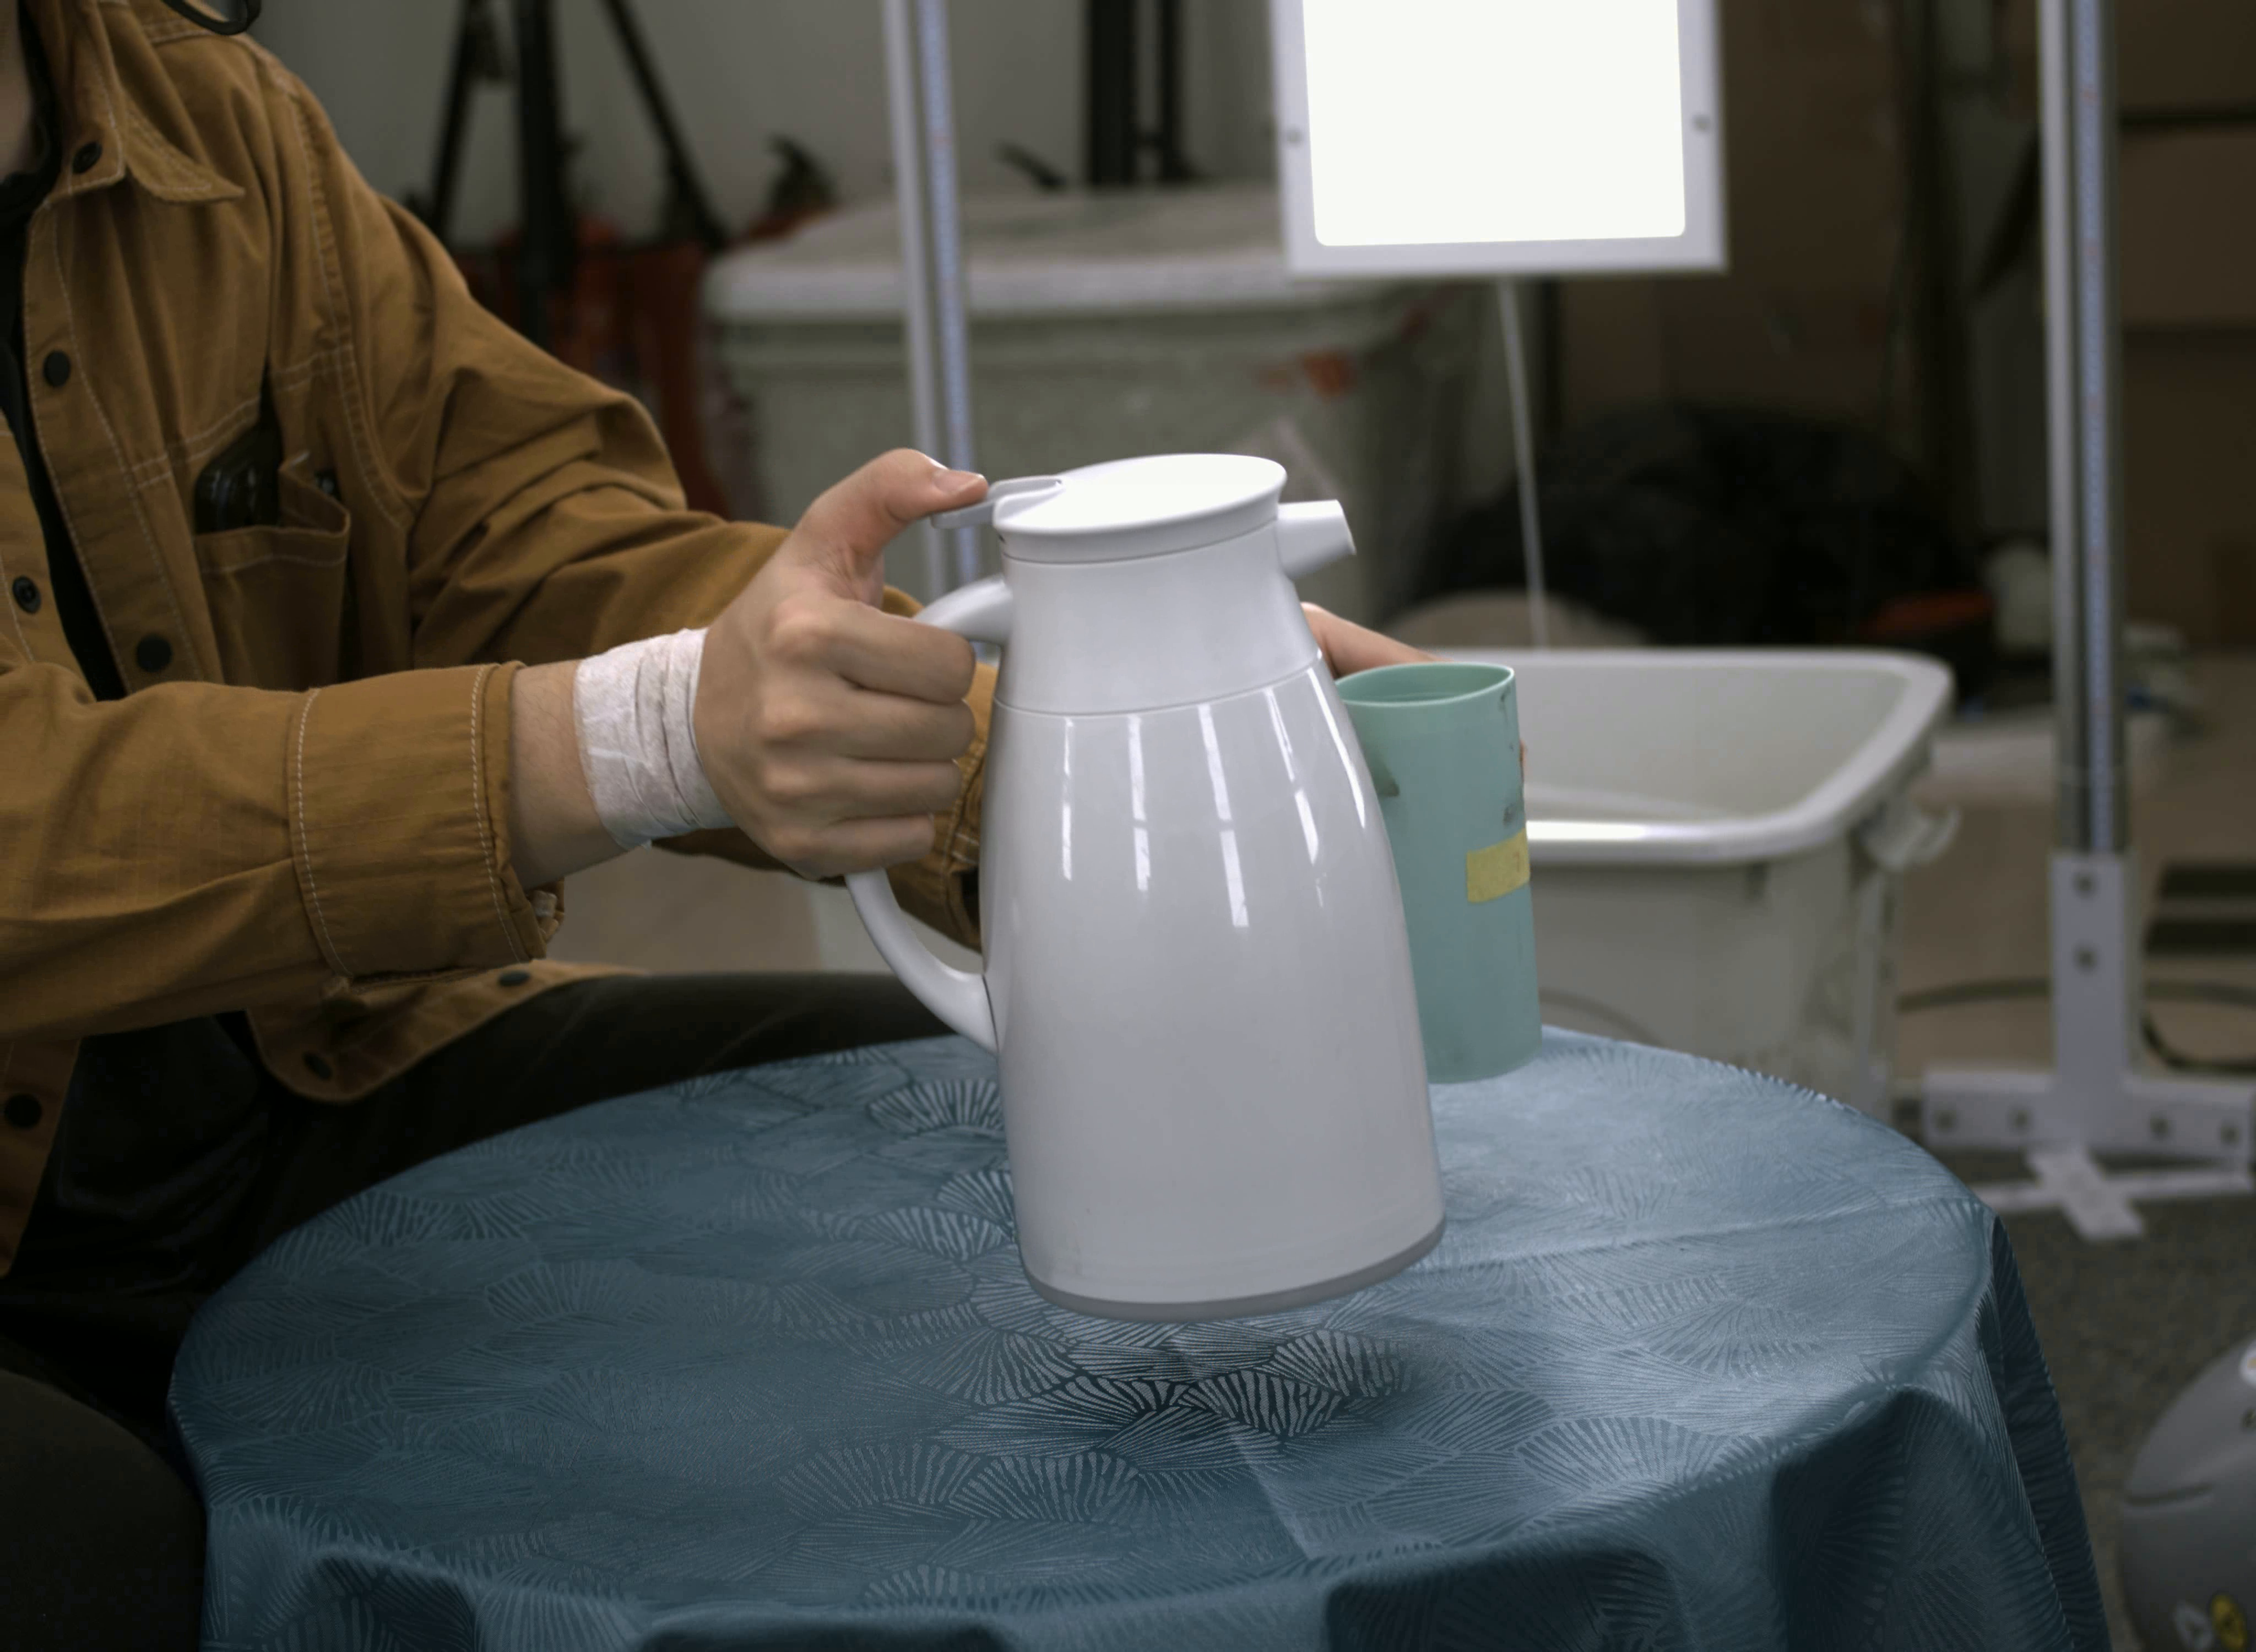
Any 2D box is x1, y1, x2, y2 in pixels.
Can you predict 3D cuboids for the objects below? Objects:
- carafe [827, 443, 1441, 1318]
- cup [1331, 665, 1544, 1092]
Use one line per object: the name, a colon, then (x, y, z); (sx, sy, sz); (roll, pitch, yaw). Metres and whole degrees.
carafe: (-0.003, 0.013, 1.661); (0.167, 0.249, 0.132); (-9, 15, -1)
cup: (0.102, 0.017, 1.837); (0.066, 0.133, 0.066); (-5, 13, 0)
